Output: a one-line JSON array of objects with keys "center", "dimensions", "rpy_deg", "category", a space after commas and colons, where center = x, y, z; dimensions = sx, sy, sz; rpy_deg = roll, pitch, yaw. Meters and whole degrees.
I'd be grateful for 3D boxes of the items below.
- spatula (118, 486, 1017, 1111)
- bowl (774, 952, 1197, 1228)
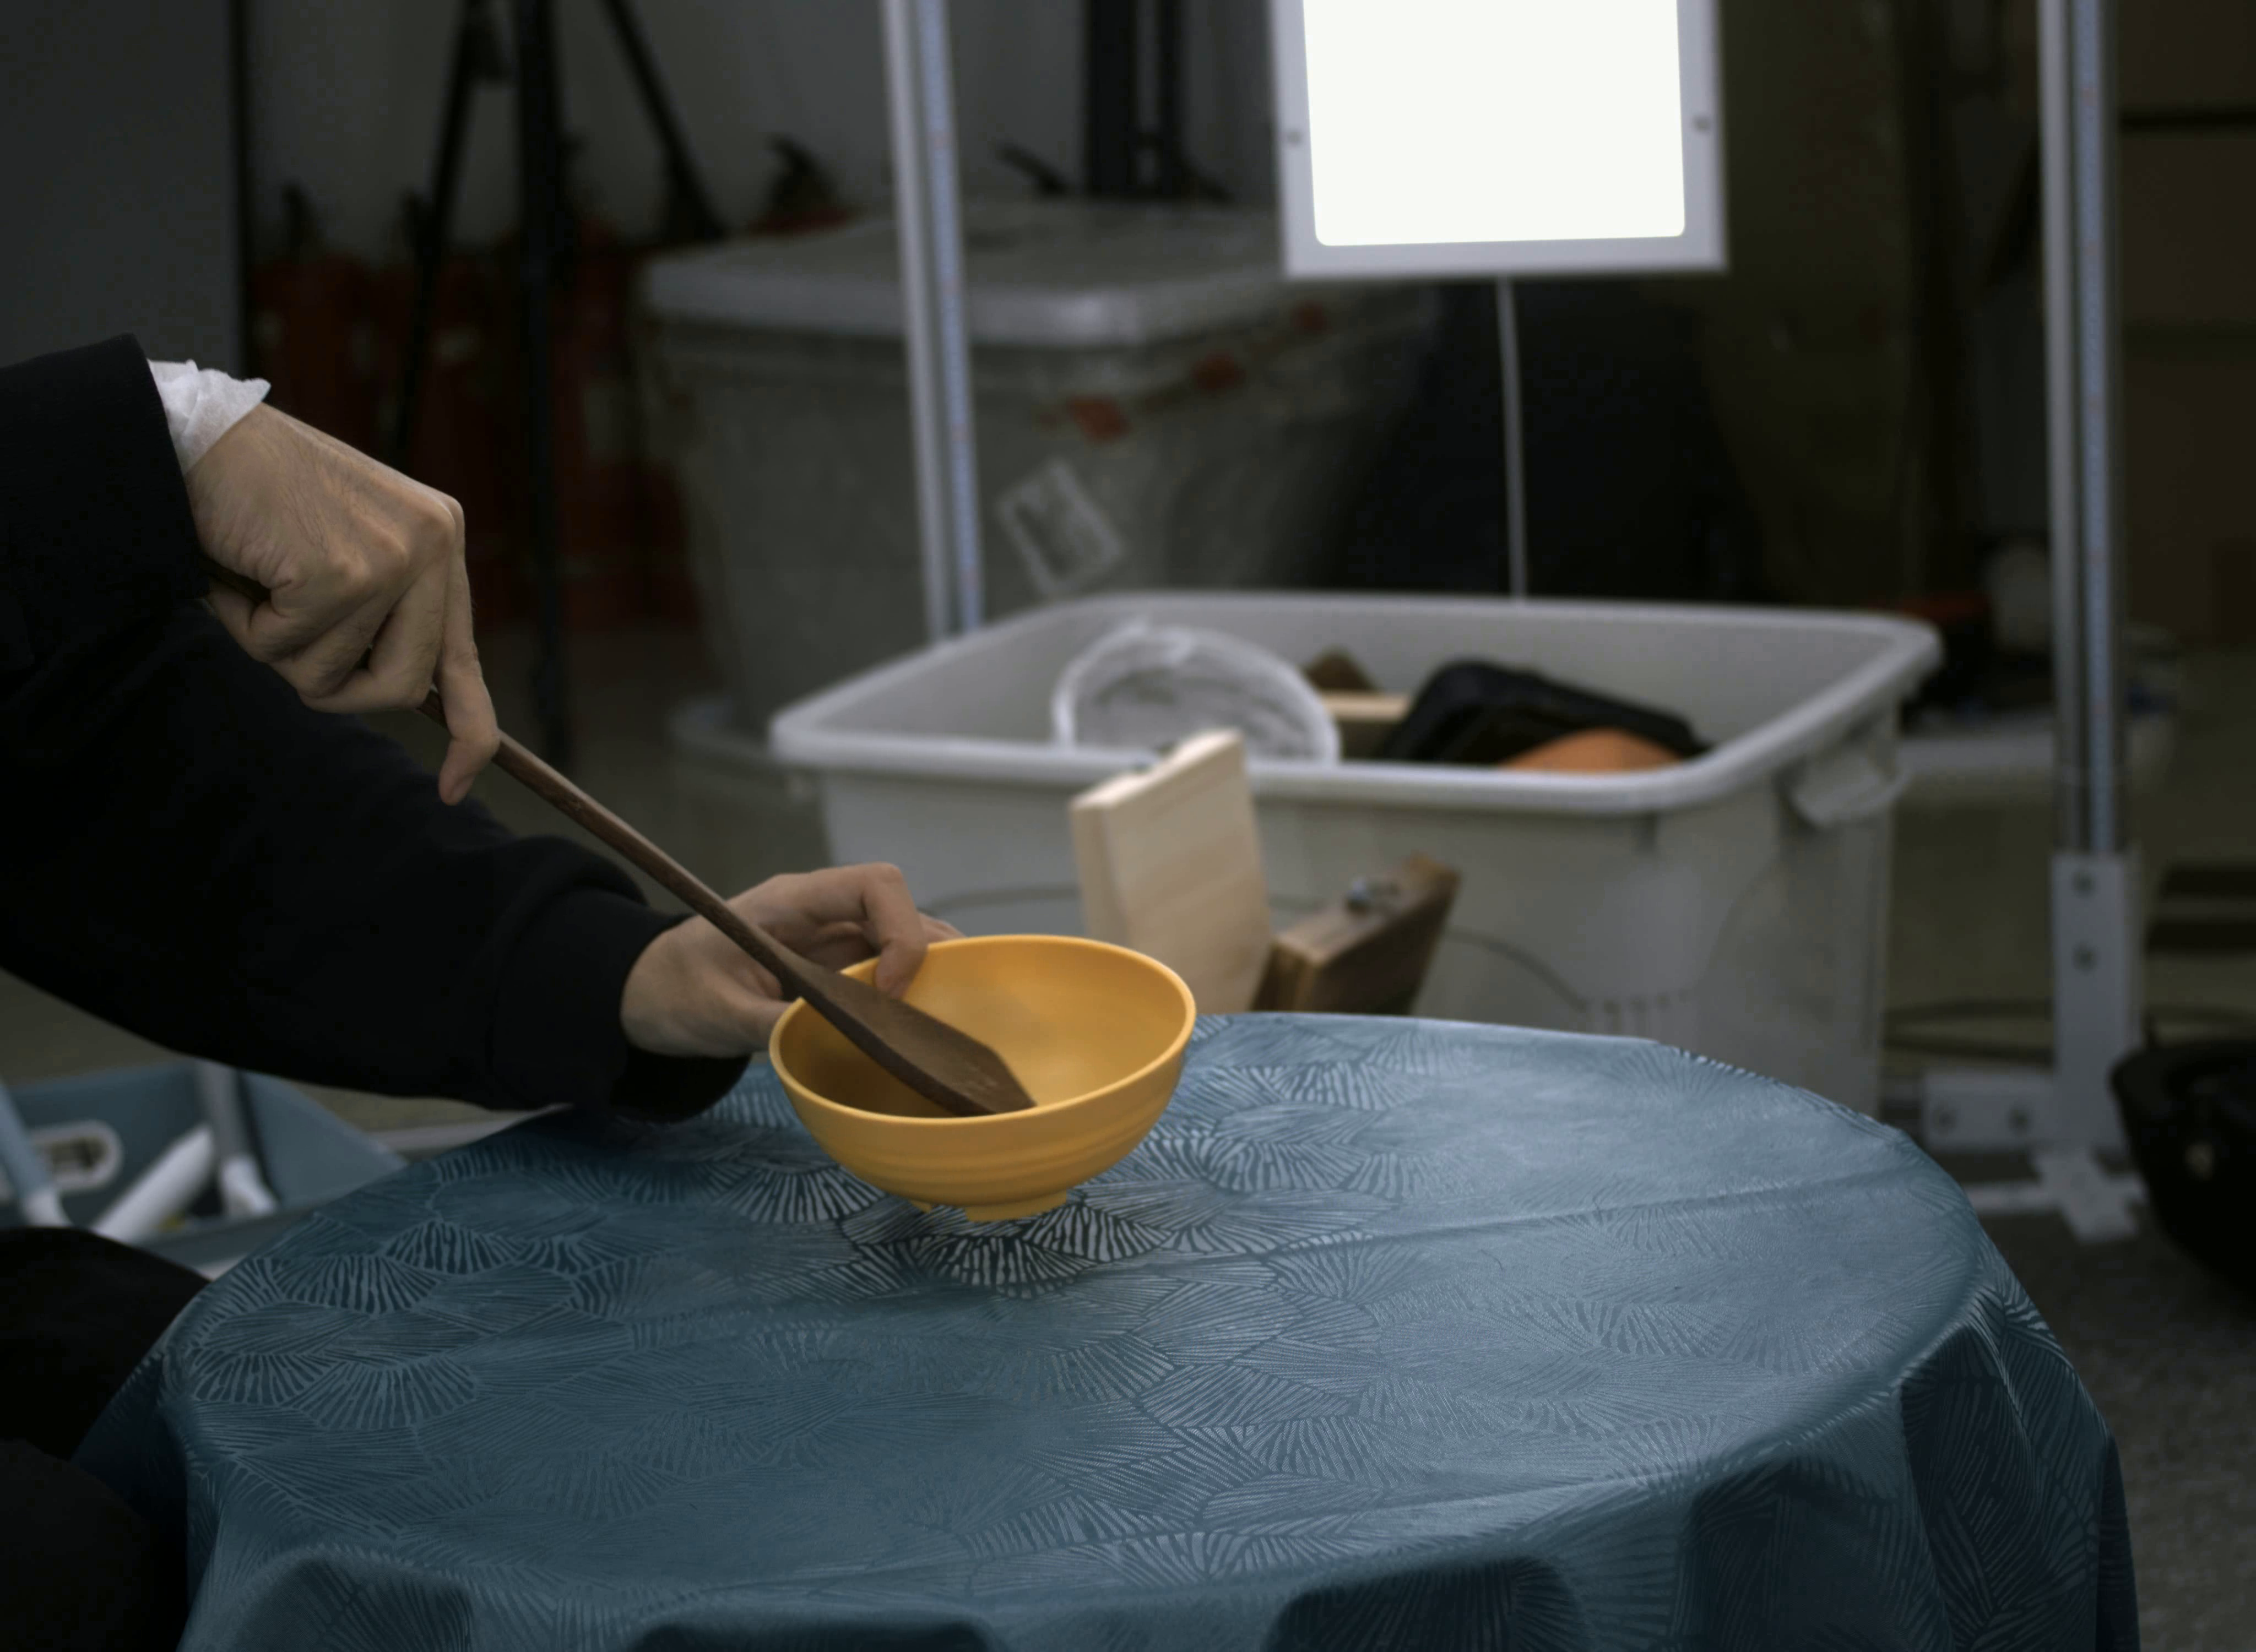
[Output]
[{"center": [-0.173, -0.002, 1.808], "dimensions": [0.381, 0.016, 0.097], "rpy_deg": [37, 5, -22], "category": "spatula"}, {"center": [-0.046, 0.096, 1.862], "dimensions": [0.145, 0.060, 0.145], "rpy_deg": [-5, 21, 1], "category": "bowl"}]
